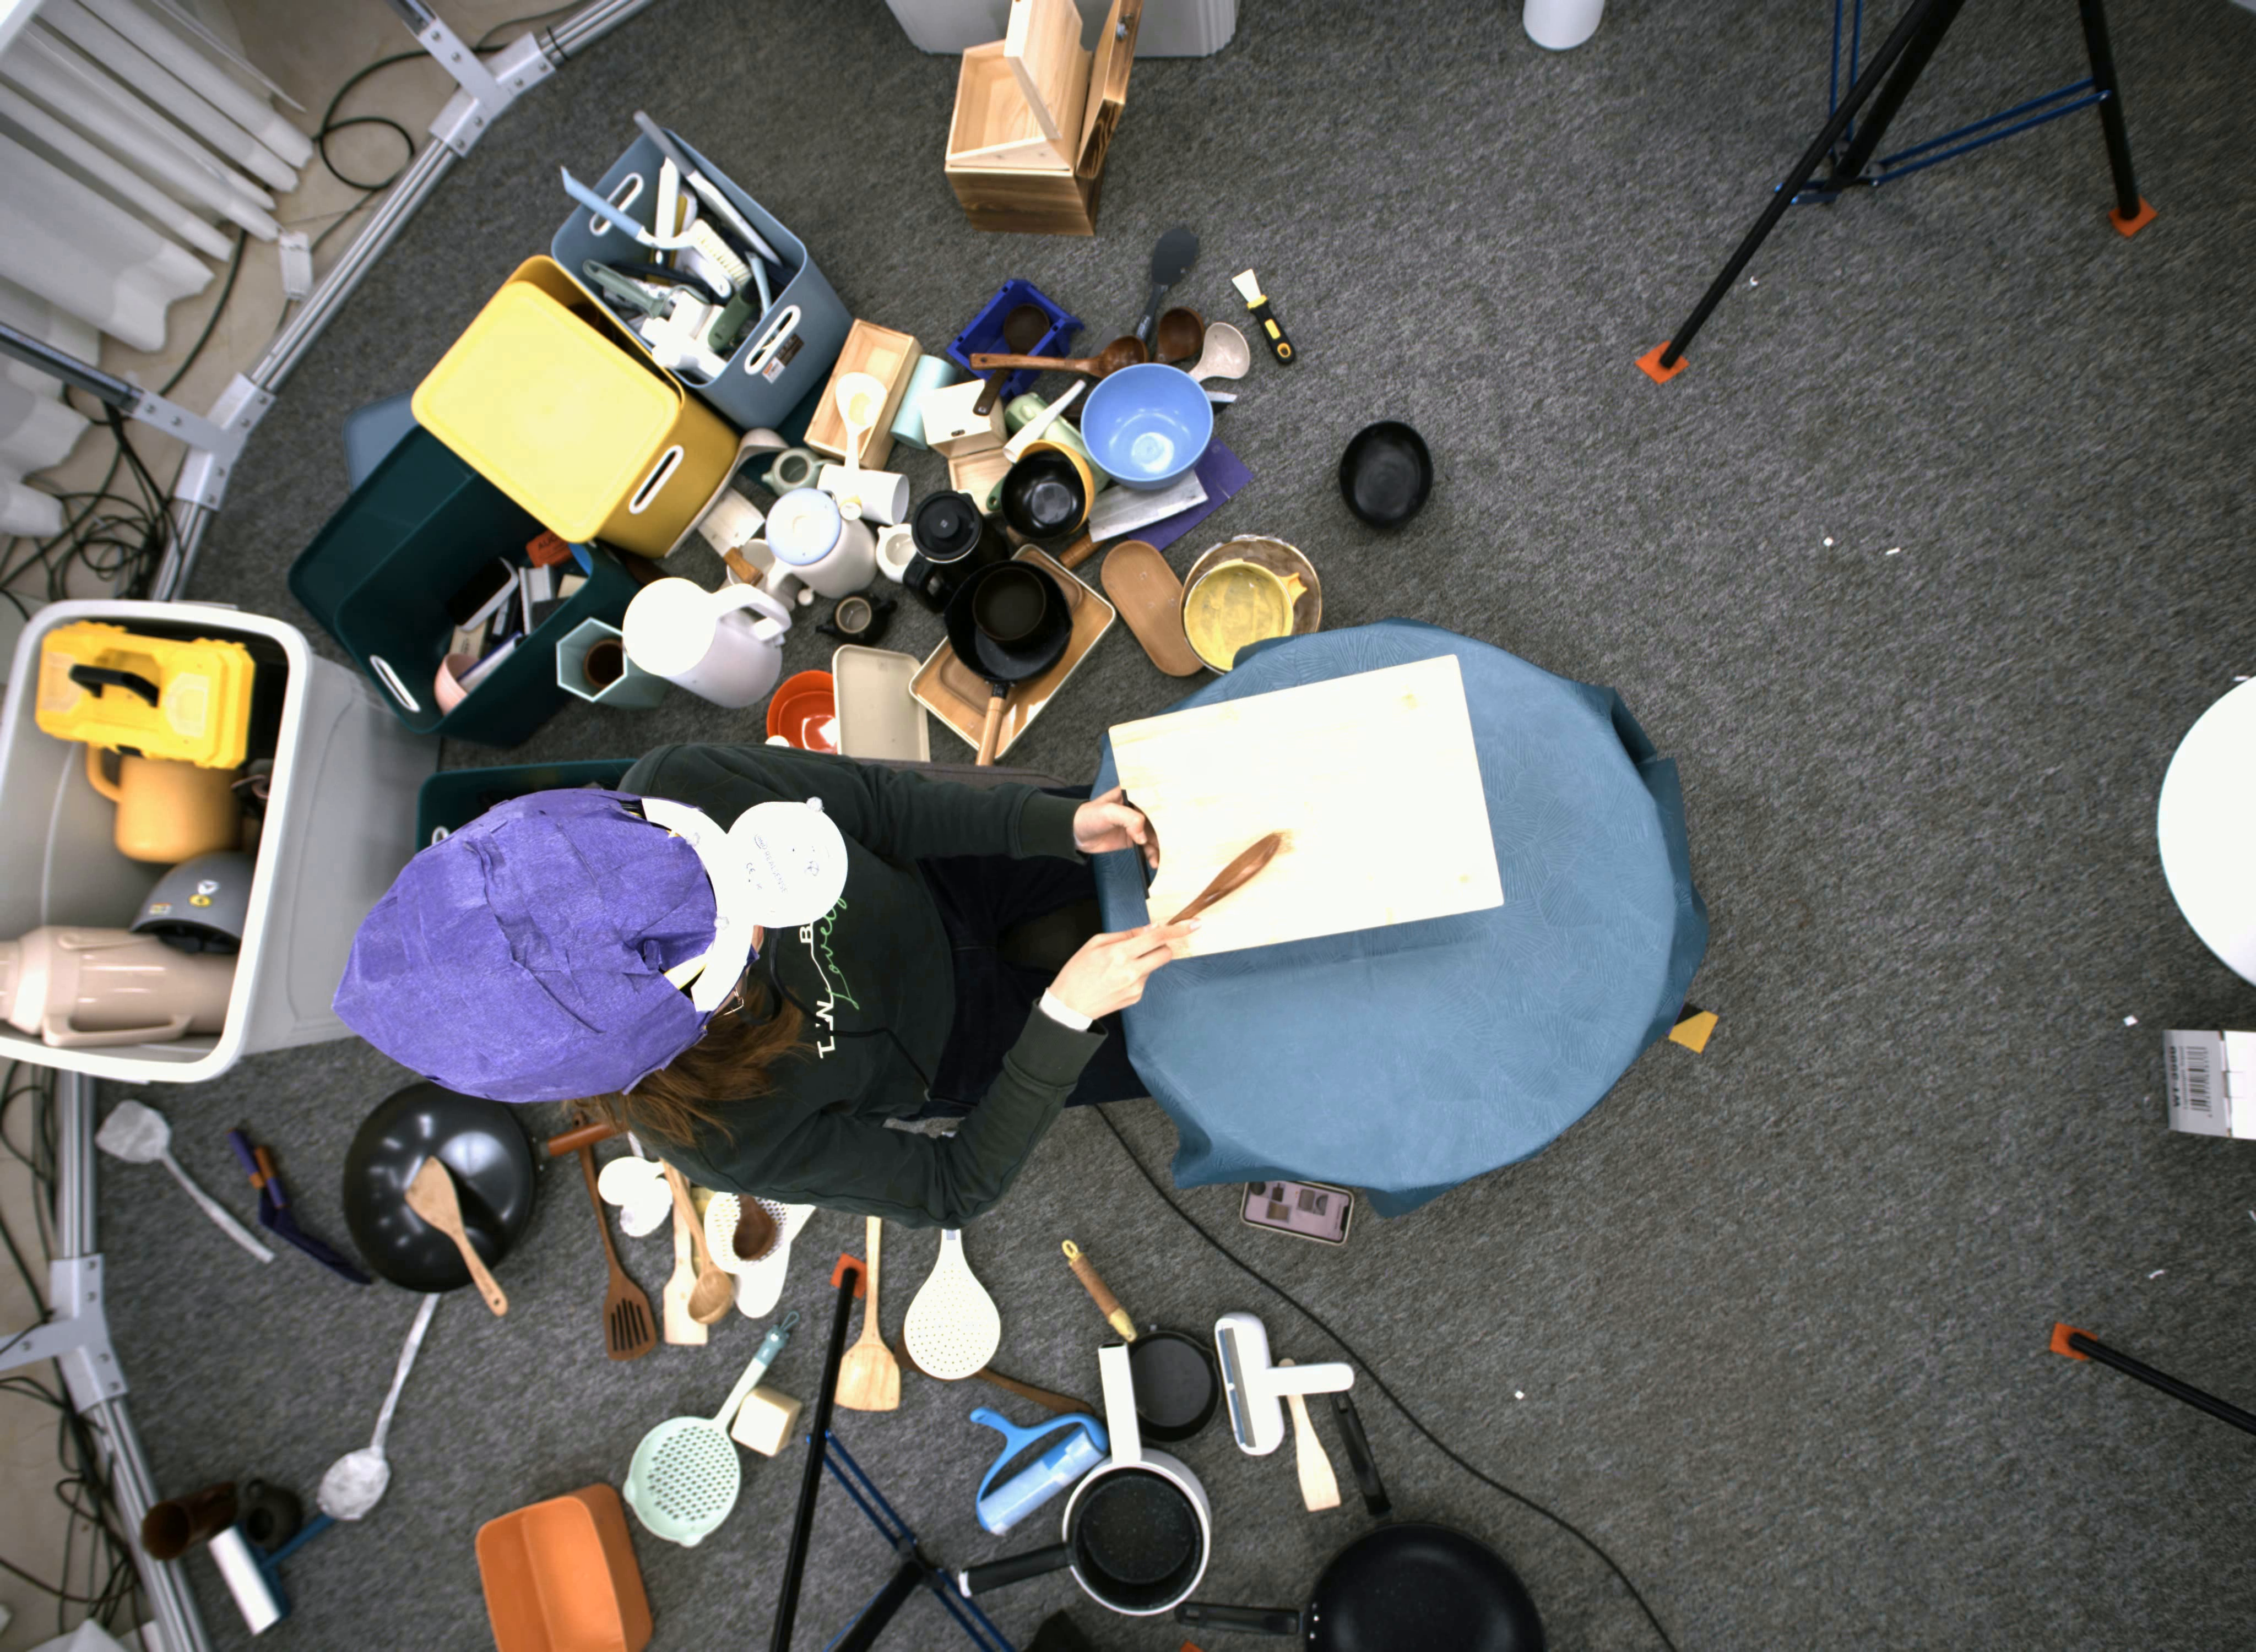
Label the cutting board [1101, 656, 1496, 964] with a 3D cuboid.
[{"bbox_3d":[0.165,-0.012,1.335,0.351,0.023,0.252,-12,97,16],"label":"cutting board"}]

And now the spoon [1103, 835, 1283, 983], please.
[{"bbox_3d":[0.064,0.080,1.319,0.217,0.075,0.017,-38,100,5],"label":"spoon"}]
